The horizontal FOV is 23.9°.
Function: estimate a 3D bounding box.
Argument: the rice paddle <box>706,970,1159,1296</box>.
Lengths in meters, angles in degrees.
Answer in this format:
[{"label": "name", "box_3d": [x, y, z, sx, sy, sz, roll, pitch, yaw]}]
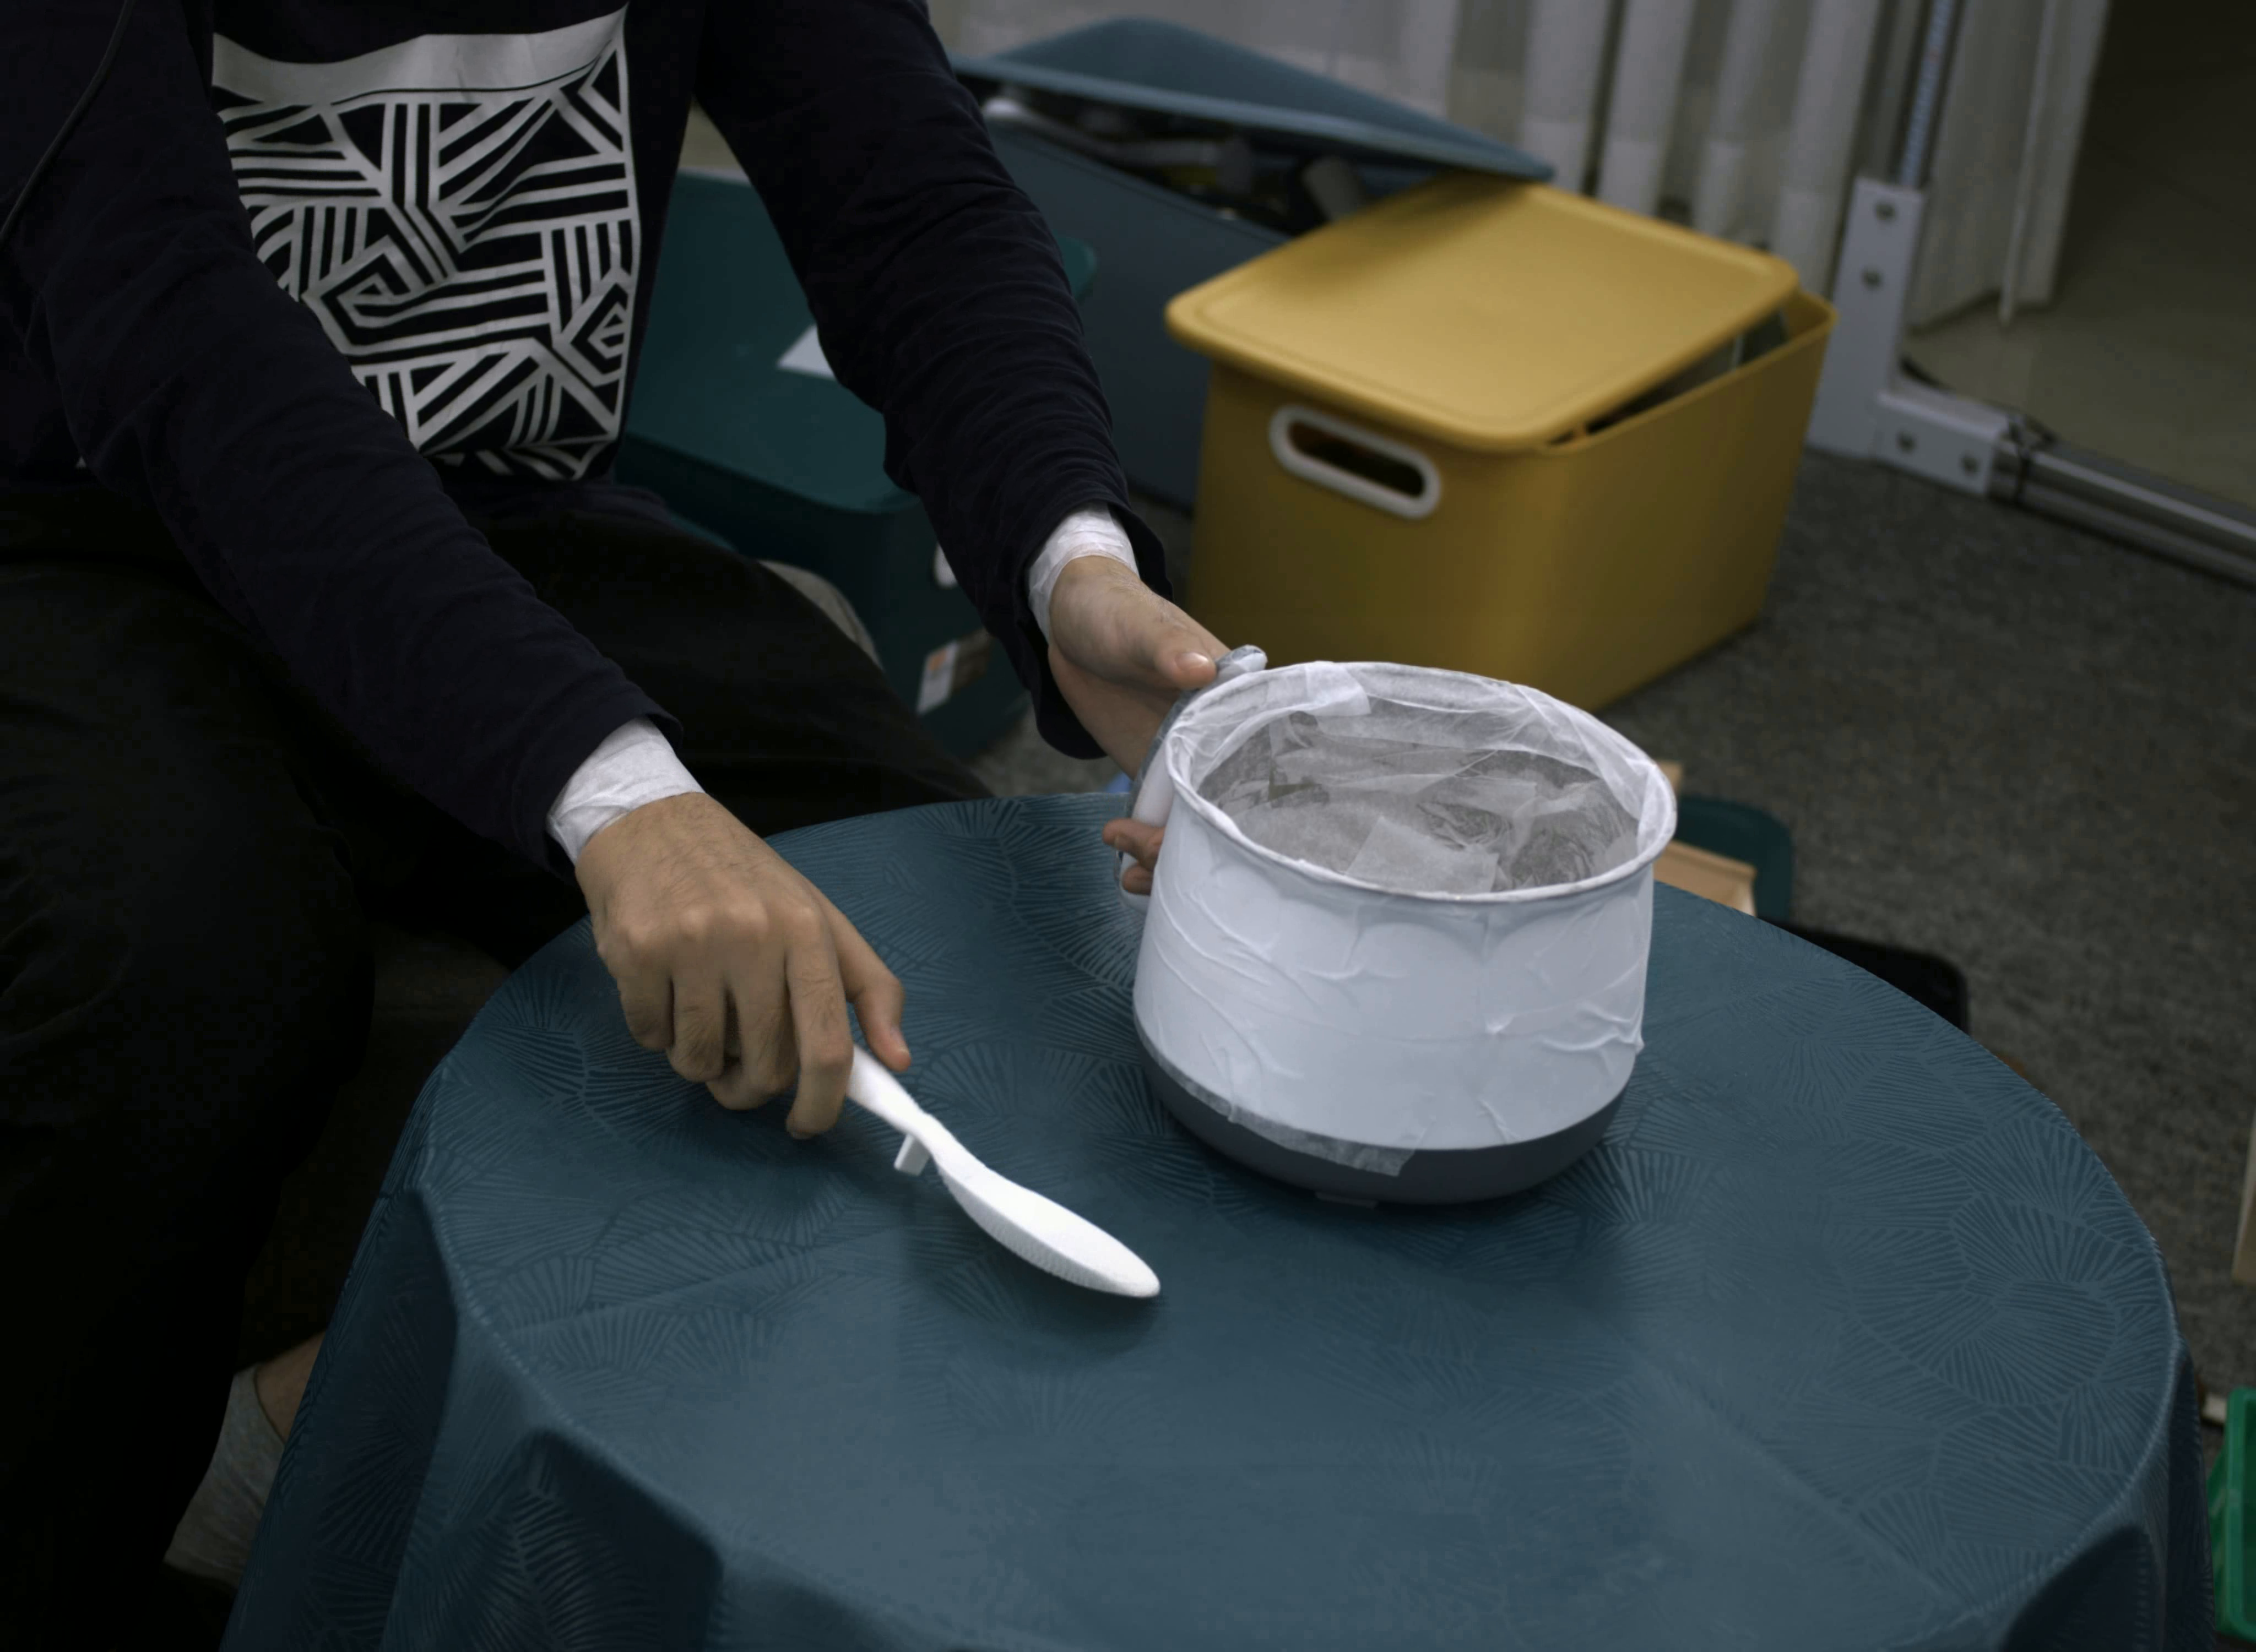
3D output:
[{"label": "rice paddle", "box_3d": [-0.064, 0.106, 1.782, 0.207, 0.029, 0.068, 32, 6, 37]}]

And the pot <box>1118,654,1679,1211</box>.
[{"label": "pot", "box_3d": [0.077, 0.030, 1.865, 0.177, 0.136, 0.236, -11, 30, -35]}]
